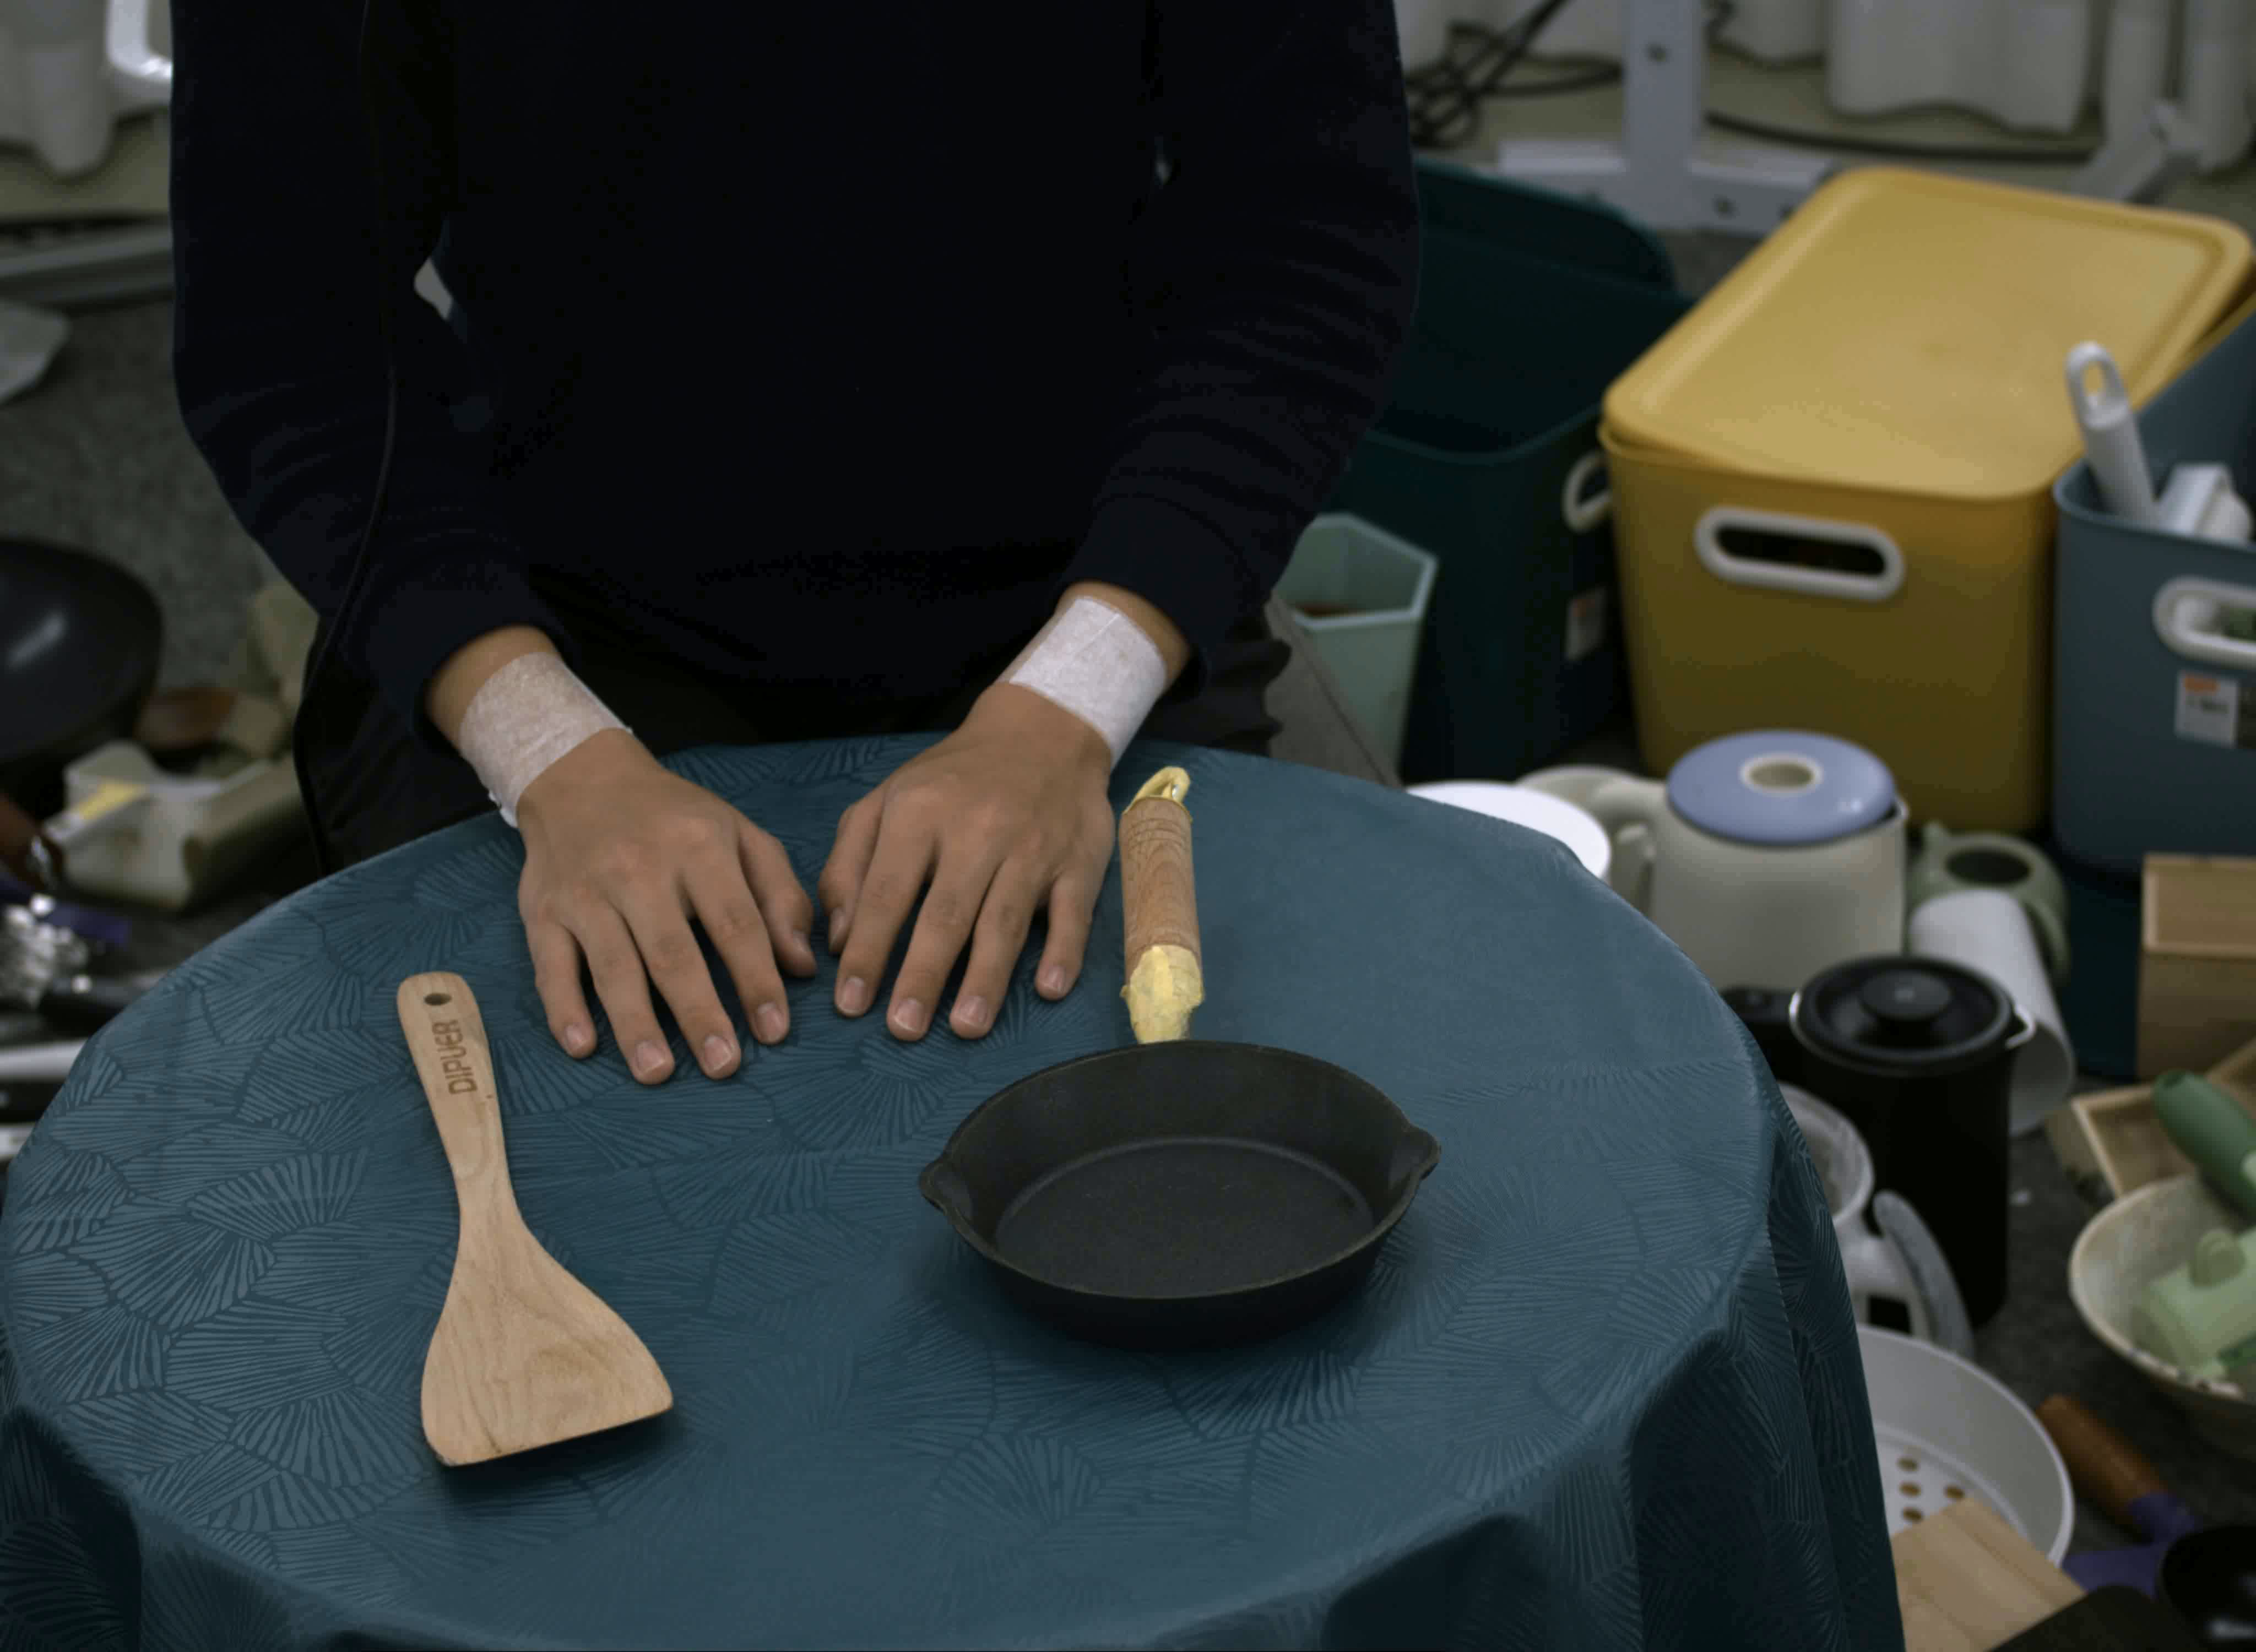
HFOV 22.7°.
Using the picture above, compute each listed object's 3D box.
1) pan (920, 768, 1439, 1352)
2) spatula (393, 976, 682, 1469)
[{"bbox_3d":[0.017,0.076,1.894,0.168,0.049,0.329,-3,29,1],"label":"pan"},{"bbox_3d":[-0.211,0.125,1.859,0.080,0.016,0.331,-8,28,-11],"label":"spatula"}]
